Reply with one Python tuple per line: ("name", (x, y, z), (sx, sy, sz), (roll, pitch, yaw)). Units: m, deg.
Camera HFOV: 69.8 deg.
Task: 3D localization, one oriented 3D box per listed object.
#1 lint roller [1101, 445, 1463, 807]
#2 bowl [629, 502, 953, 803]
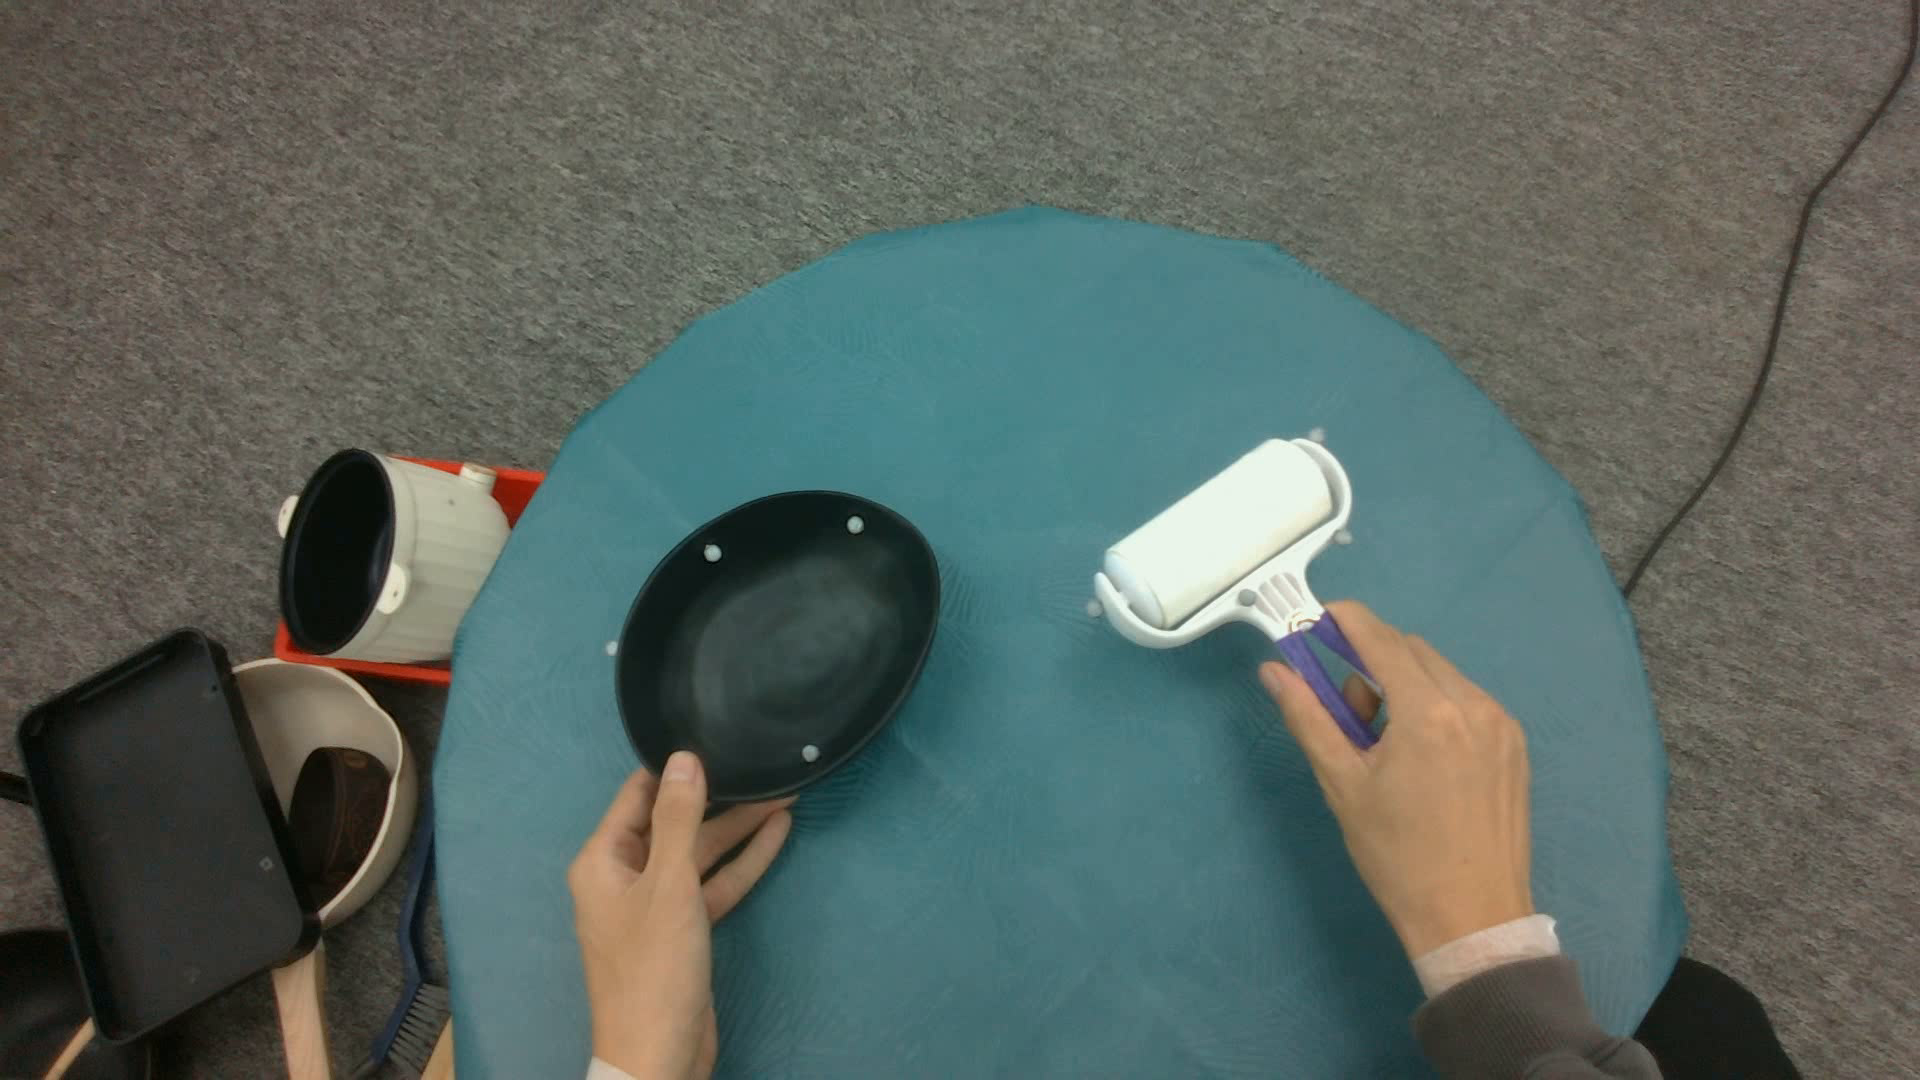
("lint roller", (0.161, 0.045, 0.627), (0.133, 0.050, 0.181), (-31, 60, -12))
("bowl", (-0.079, 0.058, 0.685), (0.137, 0.066, 0.170), (41, 76, 17))
